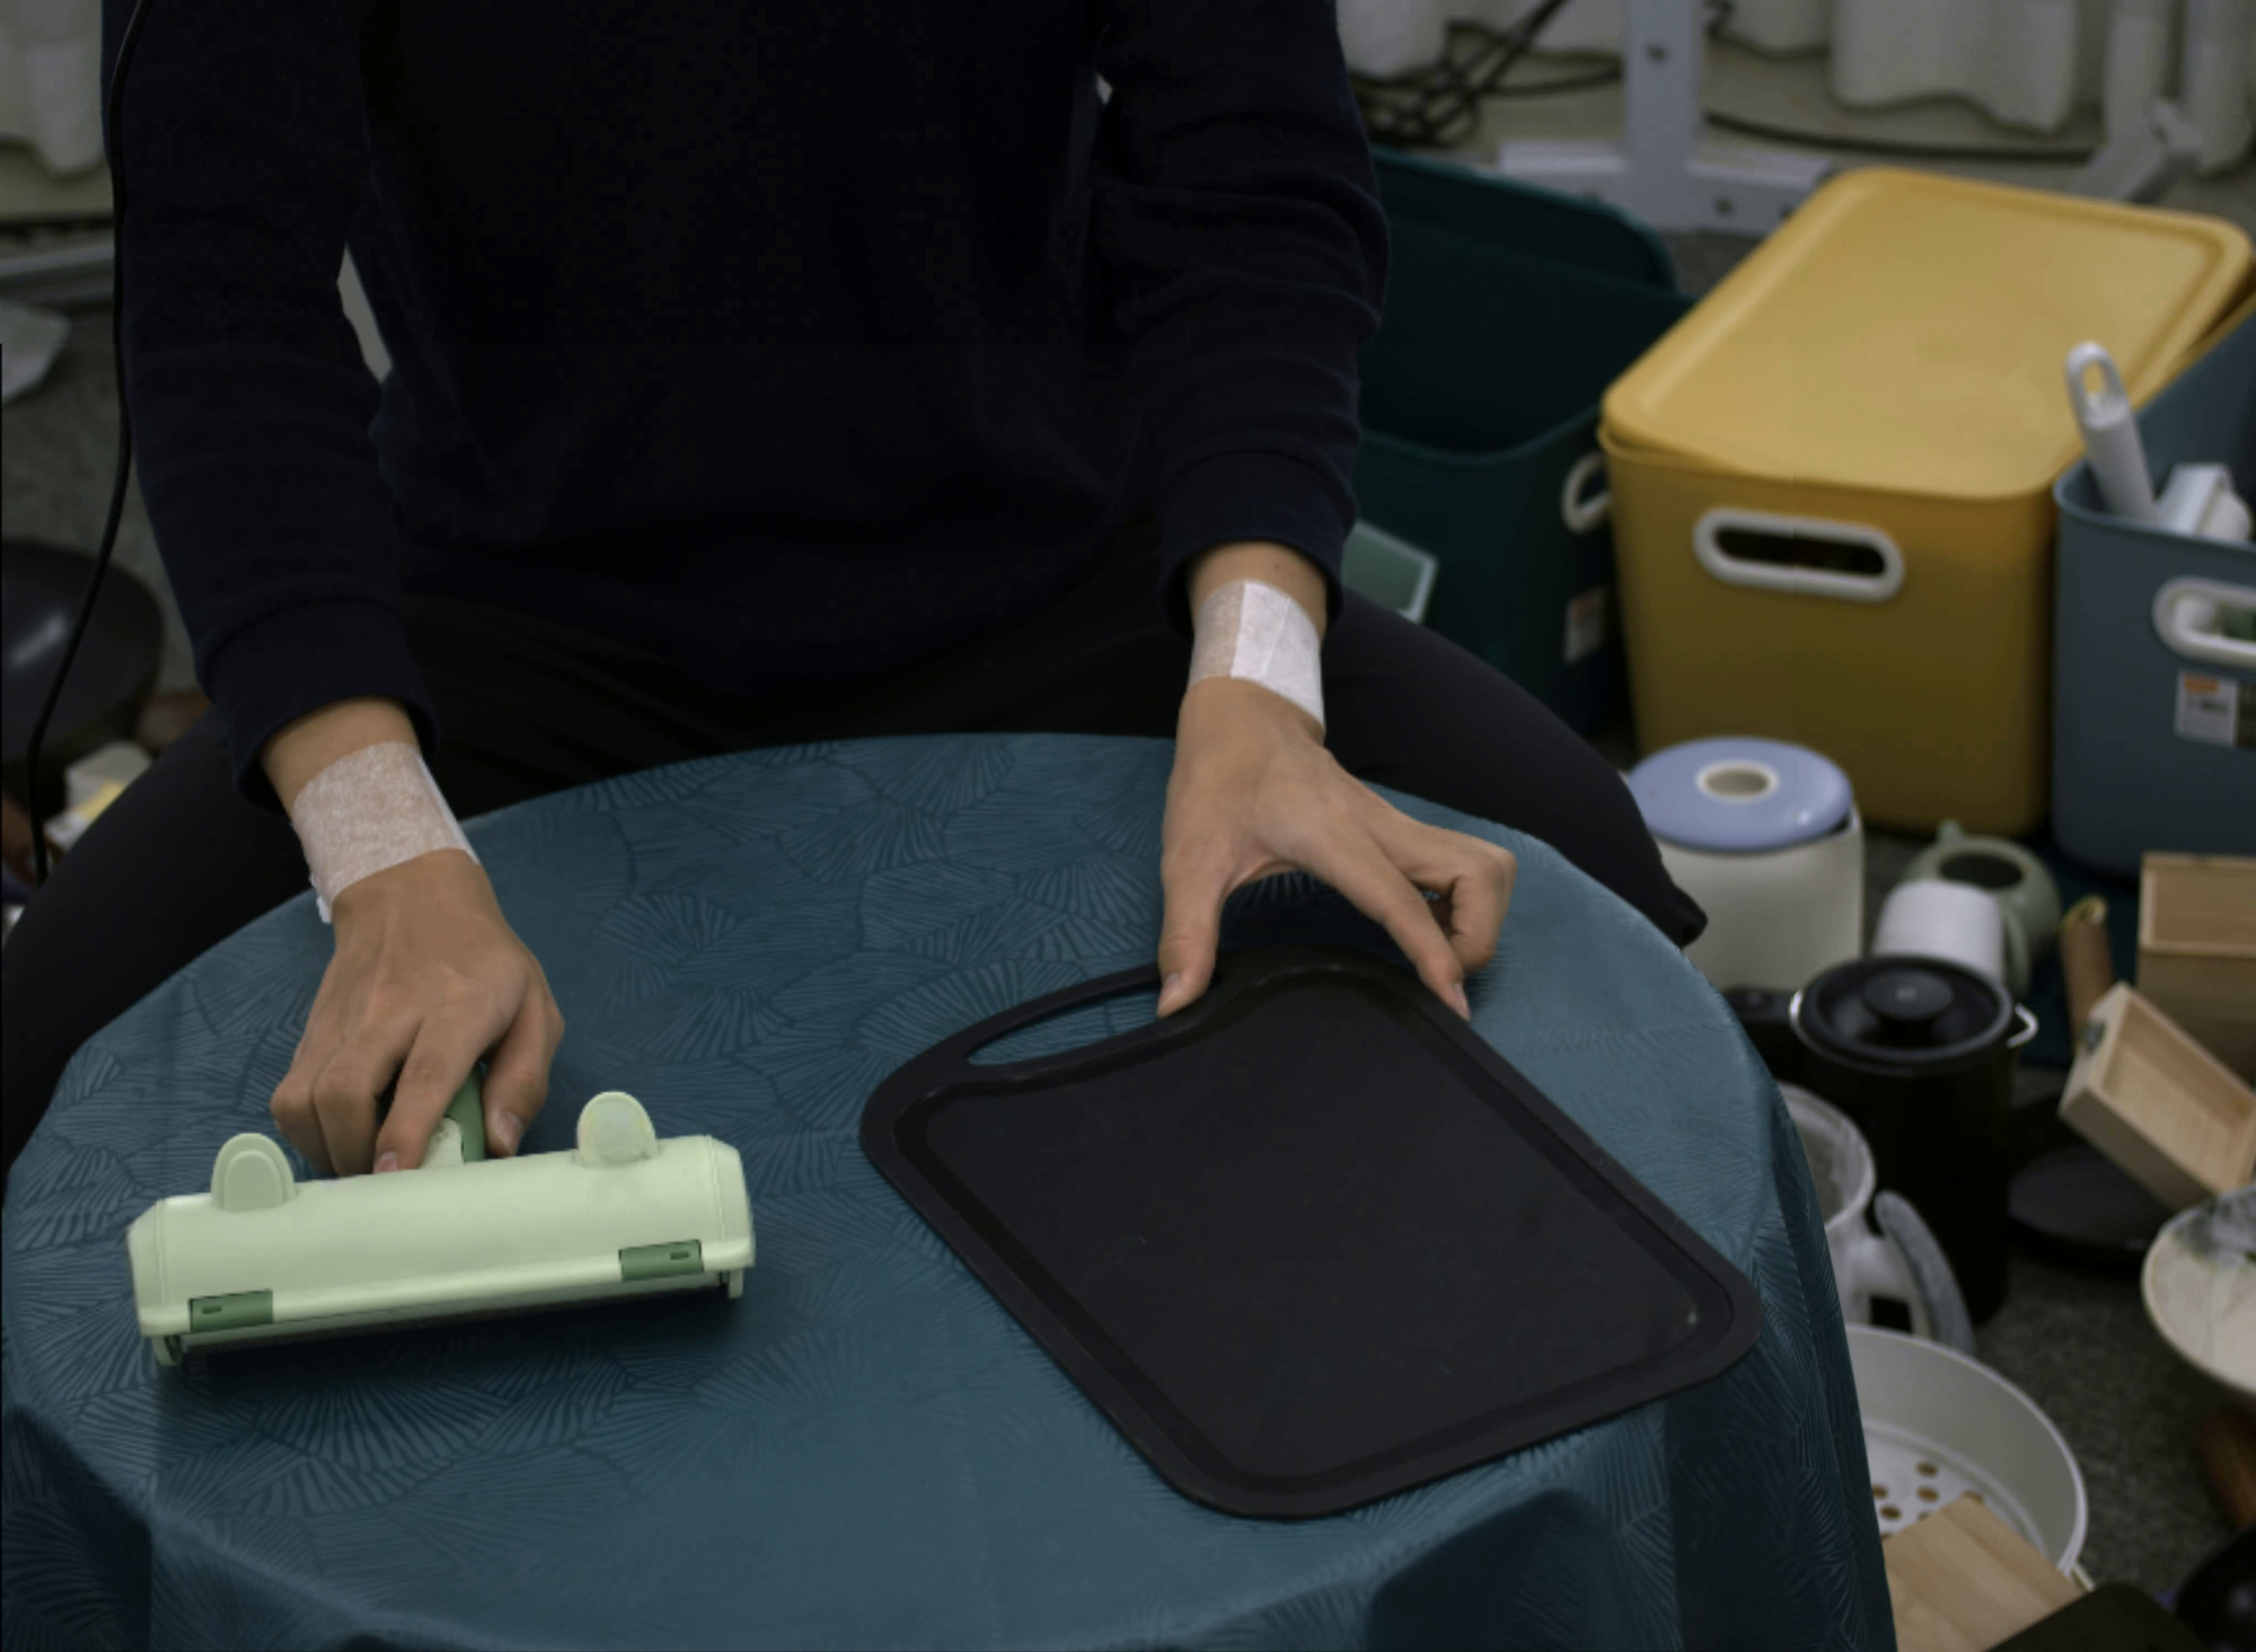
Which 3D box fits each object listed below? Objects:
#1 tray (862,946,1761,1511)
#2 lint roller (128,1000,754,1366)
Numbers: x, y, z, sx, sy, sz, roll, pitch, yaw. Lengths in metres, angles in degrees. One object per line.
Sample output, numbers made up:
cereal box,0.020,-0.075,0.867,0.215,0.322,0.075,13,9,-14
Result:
tray,0.050,0.121,1.846,0.212,0.009,0.327,-17,31,-21
lint roller,-0.228,0.096,1.837,0.198,0.081,0.186,-6,38,-8
